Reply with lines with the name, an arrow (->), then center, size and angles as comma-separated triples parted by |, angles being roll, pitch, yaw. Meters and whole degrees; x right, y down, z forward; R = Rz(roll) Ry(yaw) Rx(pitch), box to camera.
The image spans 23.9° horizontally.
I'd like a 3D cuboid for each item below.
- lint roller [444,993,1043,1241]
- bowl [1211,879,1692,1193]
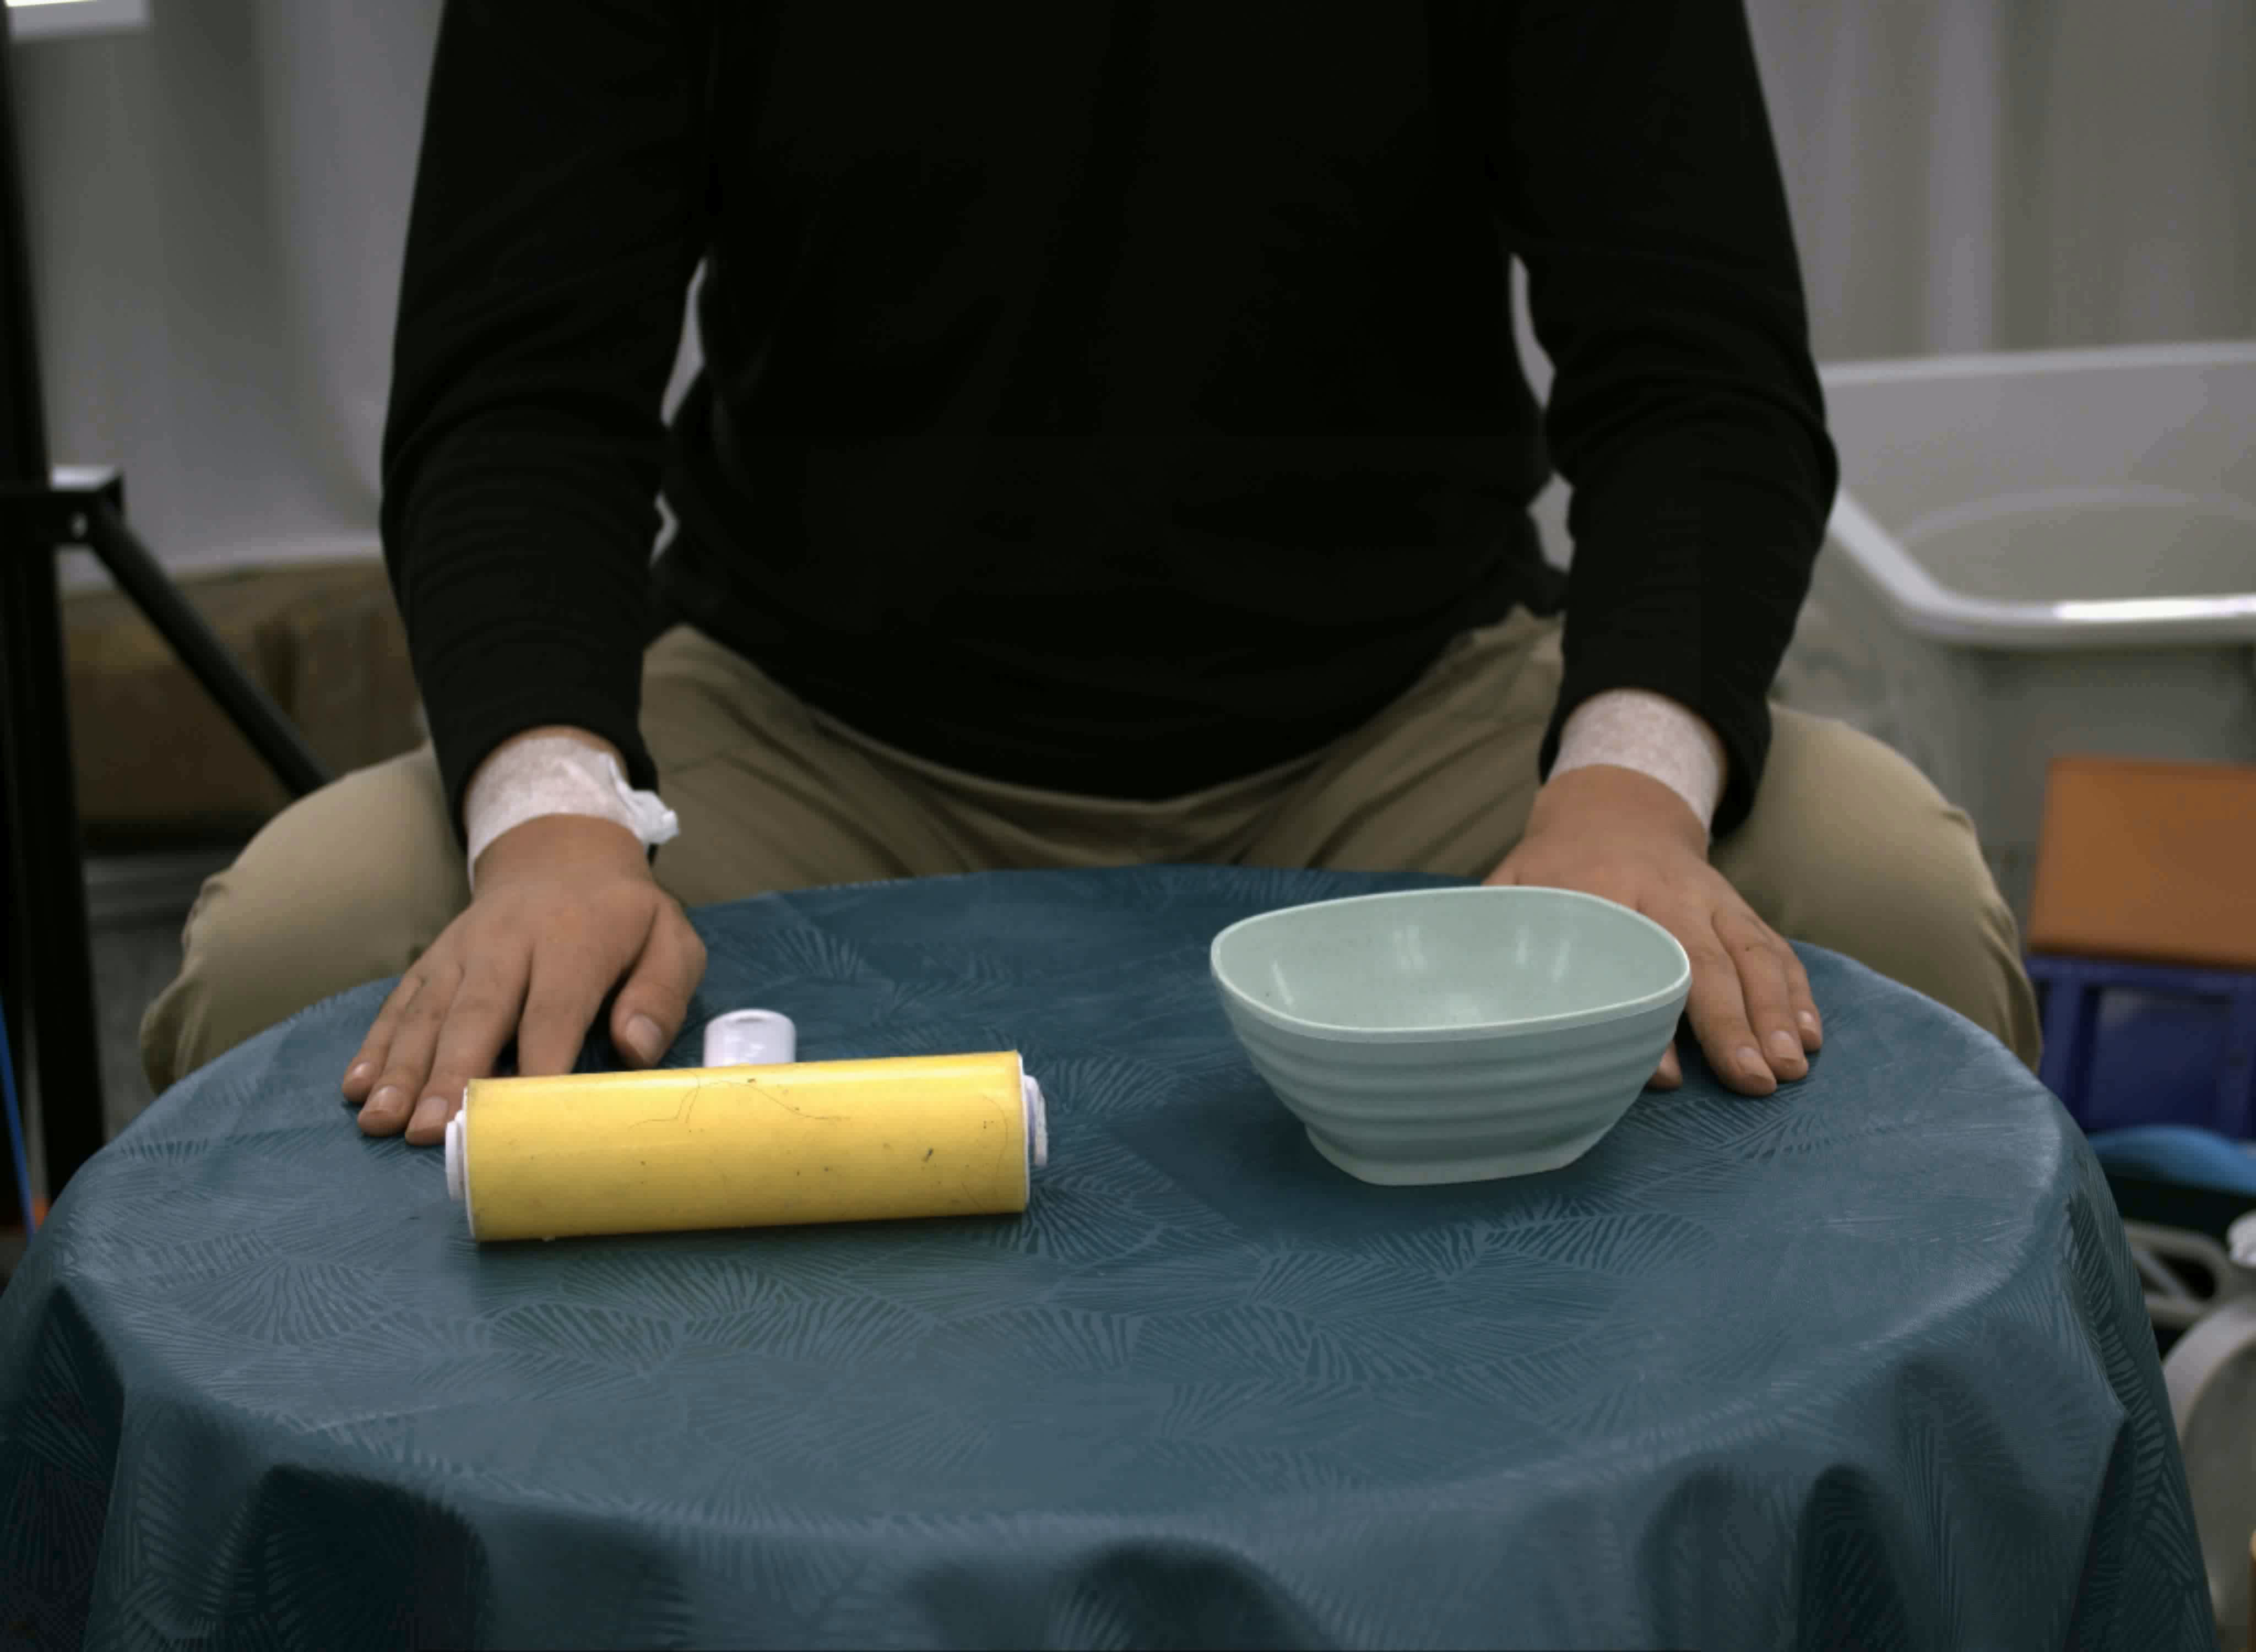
lint roller -> -0.118, 0.071, 1.611 | 0.173, 0.051, 0.194 | -4, 20, -4
bowl -> 0.097, 0.066, 1.585 | 0.151, 0.058, 0.152 | -3, 17, 0
